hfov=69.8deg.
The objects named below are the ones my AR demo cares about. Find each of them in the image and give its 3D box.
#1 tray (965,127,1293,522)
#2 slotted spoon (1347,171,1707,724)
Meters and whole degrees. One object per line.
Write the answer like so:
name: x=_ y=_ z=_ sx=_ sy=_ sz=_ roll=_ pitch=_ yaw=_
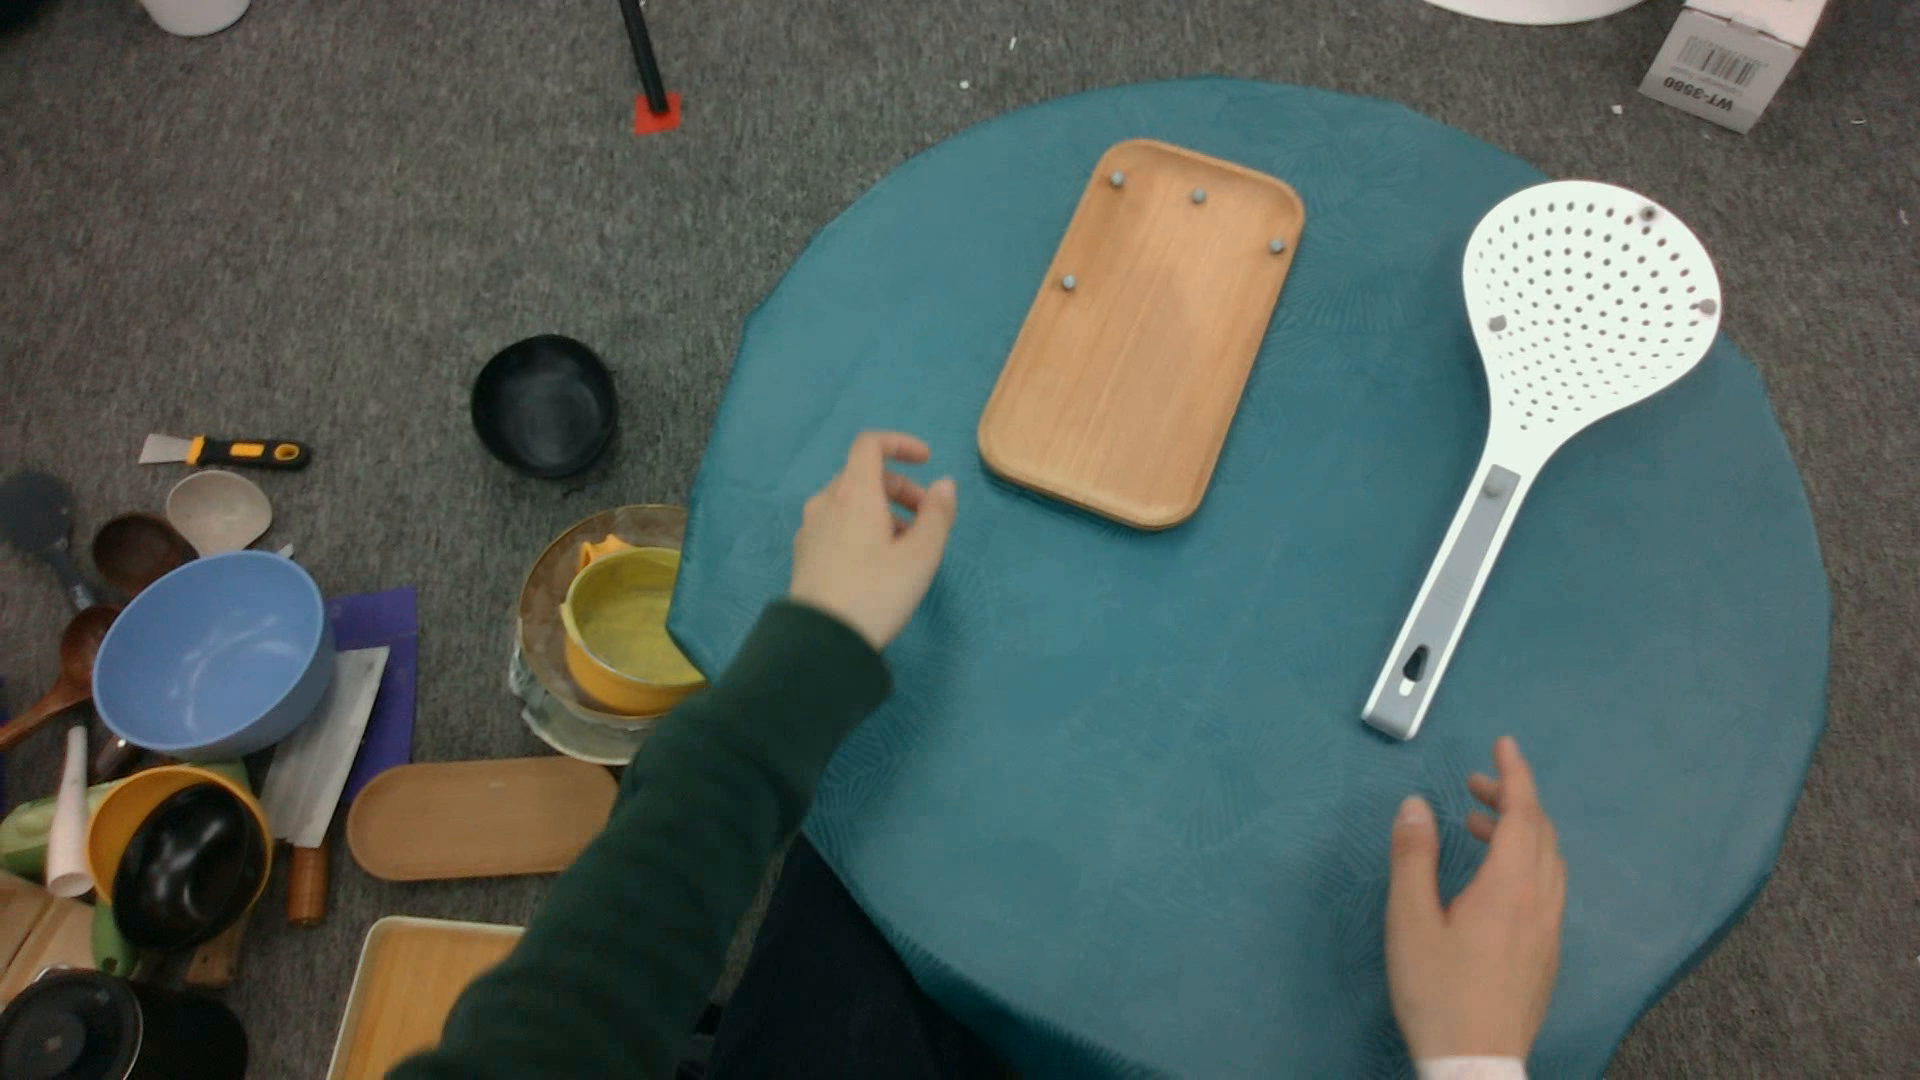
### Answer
tray: x=0.100 y=-0.128 z=0.780 sx=0.130 sy=0.023 sz=0.251 roll=20 pitch=66 yaw=10
slotted spoon: x=0.289 y=-0.056 z=0.734 sx=0.136 sy=0.045 sz=0.351 roll=26 pitch=67 yaw=14
